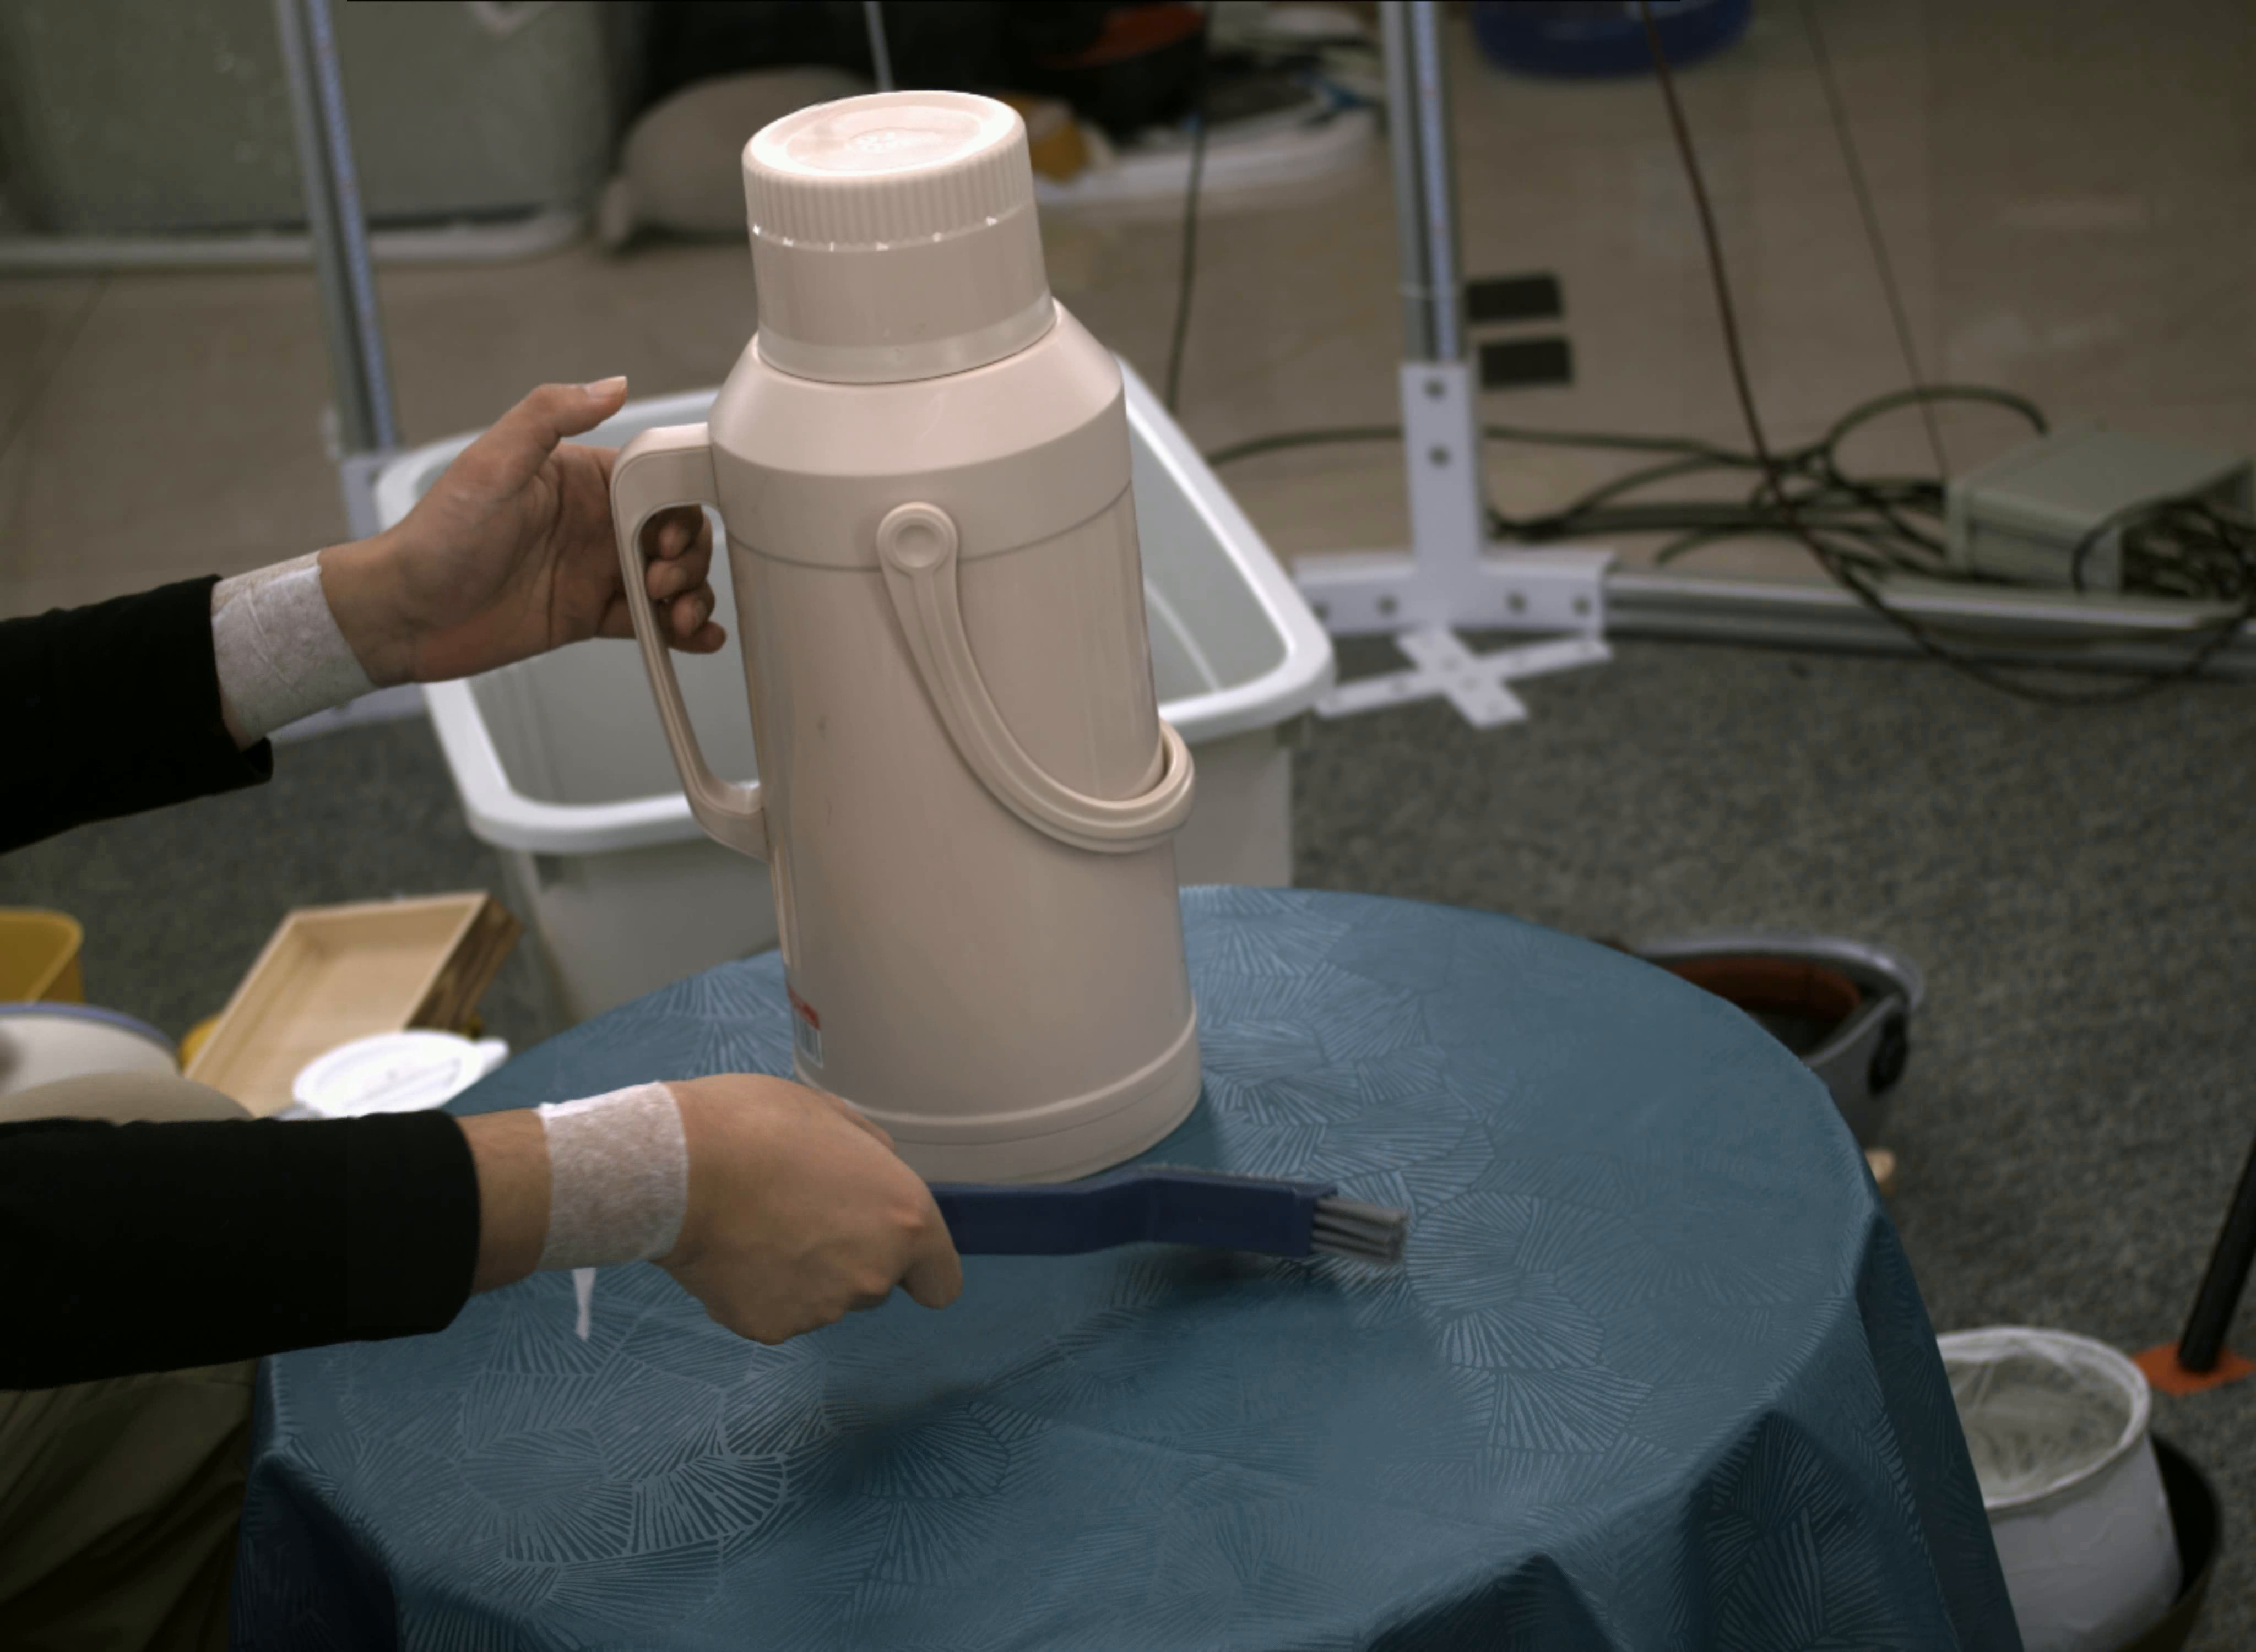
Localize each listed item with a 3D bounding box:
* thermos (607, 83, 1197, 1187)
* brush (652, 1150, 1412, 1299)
[{"bbox_3d":[-0.084,-0.071,2.142,0.207,0.413,0.172,-5,27,1],"label":"thermos"},{"bbox_3d":[-0.034,0.141,2.017,0.273,0.034,0.095,3,14,-33],"label":"brush"}]
